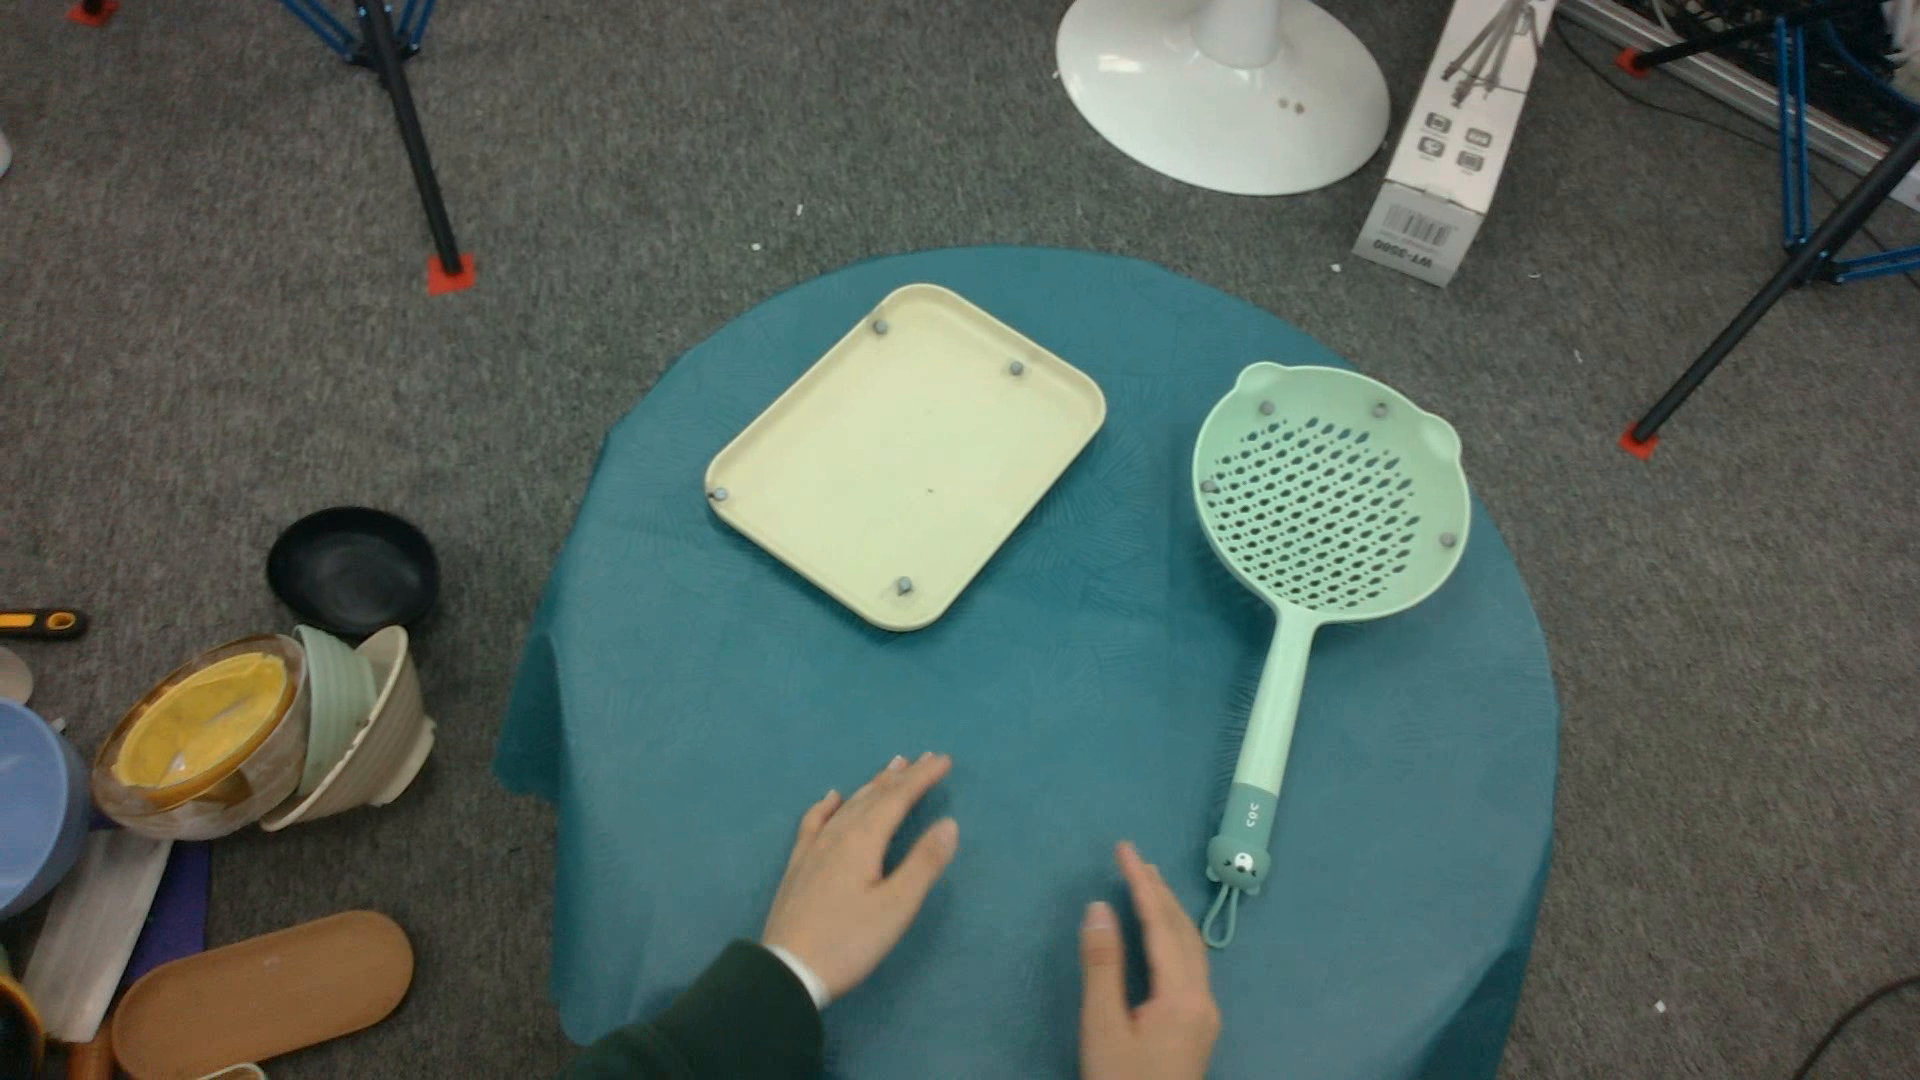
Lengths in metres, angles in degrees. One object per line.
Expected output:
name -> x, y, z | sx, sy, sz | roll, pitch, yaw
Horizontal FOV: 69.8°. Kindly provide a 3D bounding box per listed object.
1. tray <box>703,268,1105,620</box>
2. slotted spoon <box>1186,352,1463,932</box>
tray -> -0.030, -0.066, 0.863 | 0.171, 0.017, 0.241 | 34, 59, 12
slotted spoon -> 0.189, 0.050, 0.800 | 0.169, 0.075, 0.360 | 20, 57, 4
